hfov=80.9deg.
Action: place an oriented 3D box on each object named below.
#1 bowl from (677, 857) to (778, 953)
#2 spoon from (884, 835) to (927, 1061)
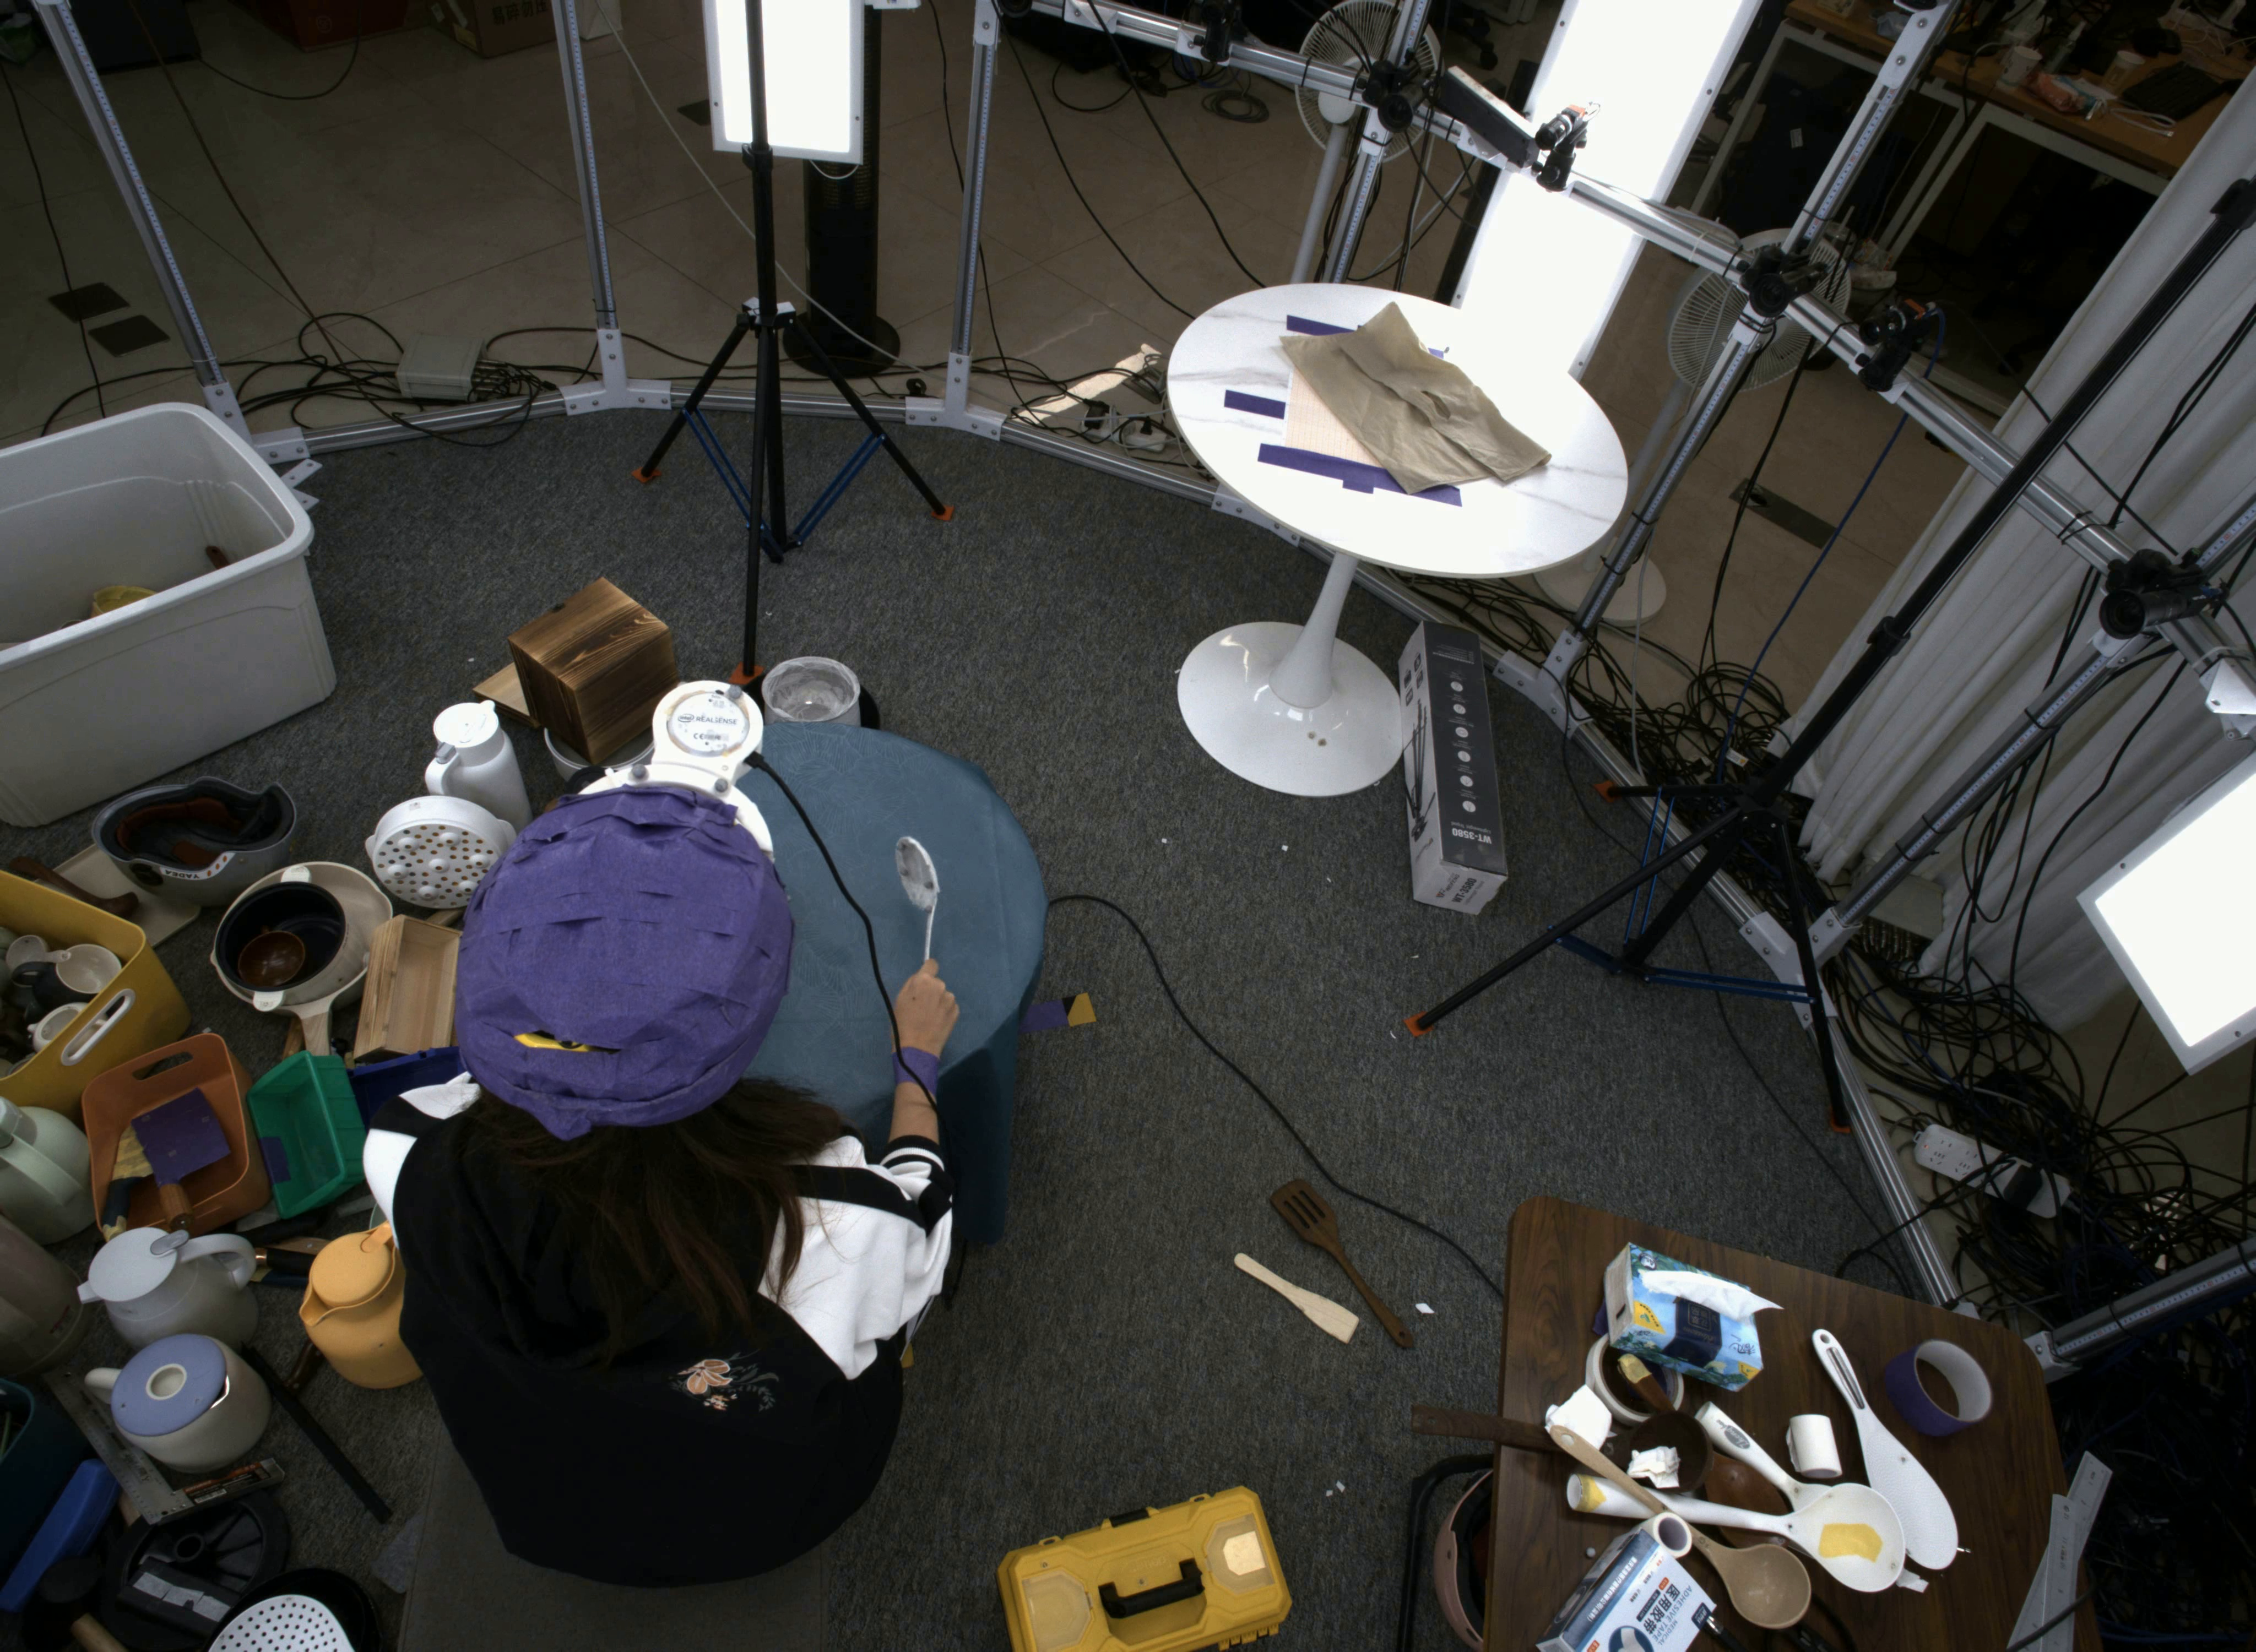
[{"bbox_3d":[-0.487,0.102,1.578,0.118,0.071,0.116,7,52,-8],"label":"bowl"},{"bbox_3d":[-0.278,0.143,1.558,0.060,0.101,0.274,11,62,-17],"label":"spoon"}]
